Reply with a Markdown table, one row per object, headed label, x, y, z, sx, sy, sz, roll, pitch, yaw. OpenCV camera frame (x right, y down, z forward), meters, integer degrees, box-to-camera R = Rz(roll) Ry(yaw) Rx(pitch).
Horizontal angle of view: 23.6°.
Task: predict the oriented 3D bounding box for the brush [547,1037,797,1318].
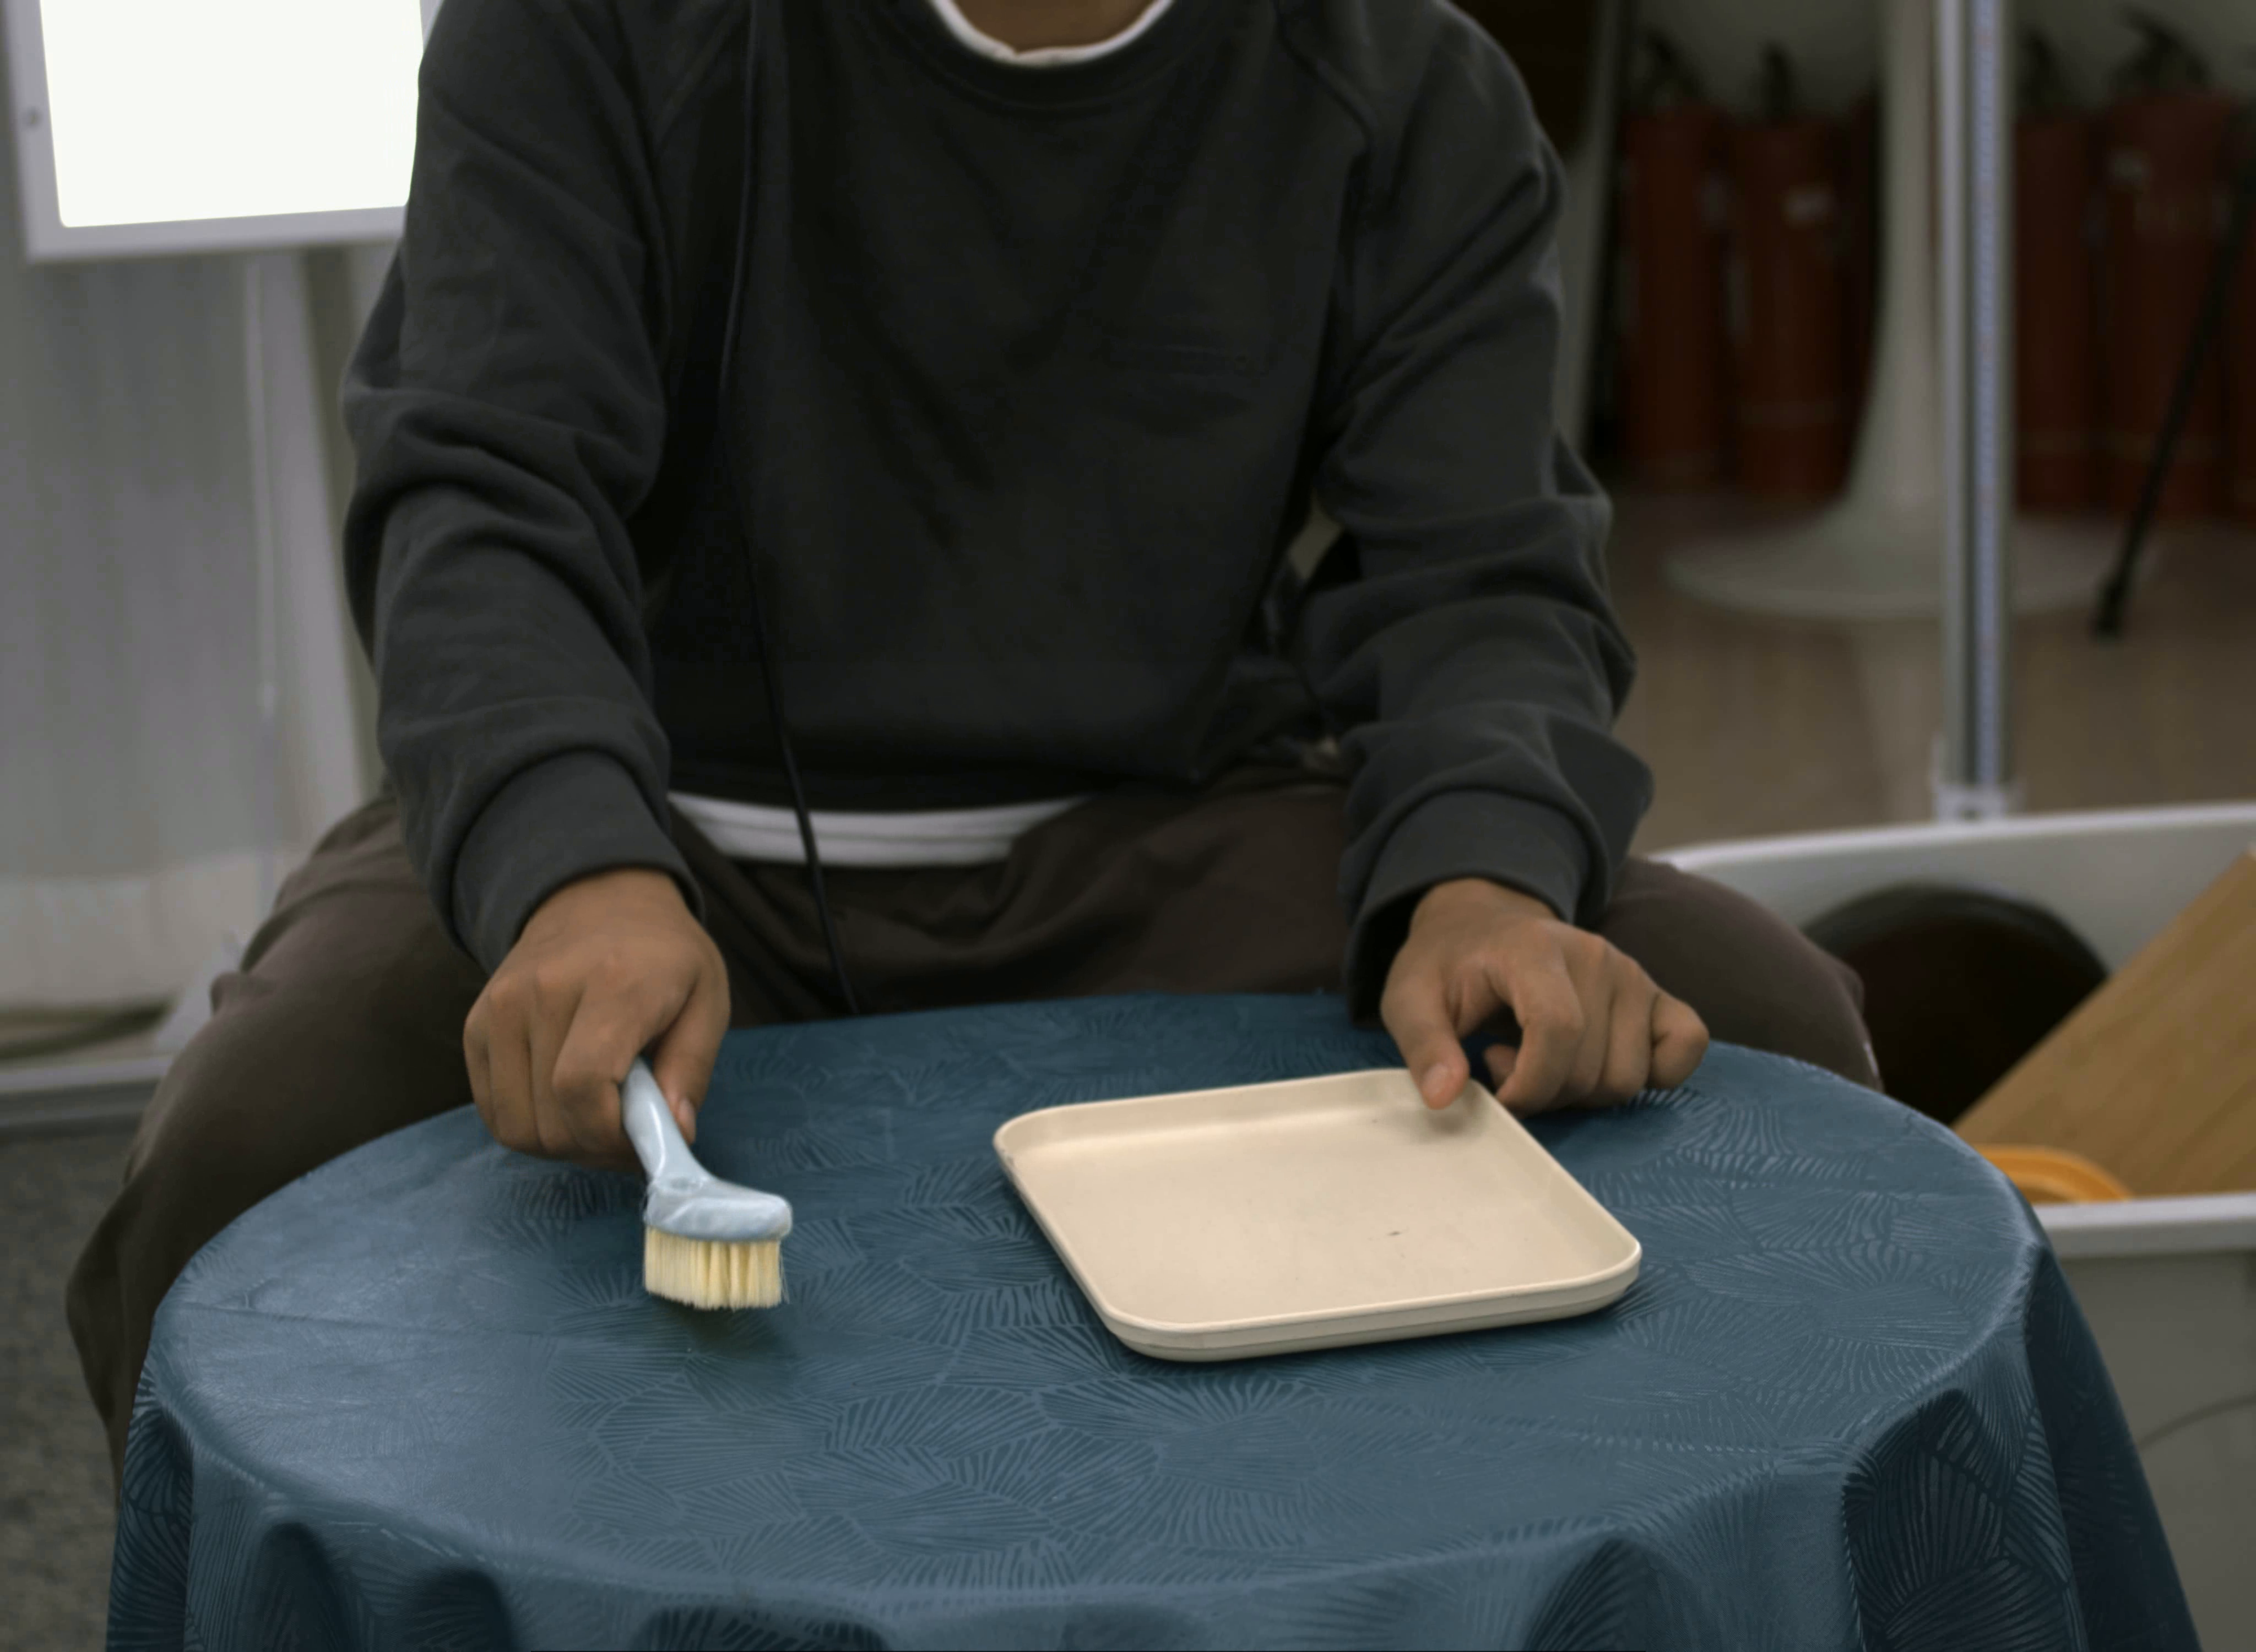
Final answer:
| label | x | y | z | sx | sy | sz | roll | pitch | yaw |
| --- | --- | --- | --- | --- | --- | --- | --- | --- | --- |
| brush | -0.152 | 0.113 | 1.733 | 0.037 | 0.050 | 0.231 | -1 | 14 | -20 |

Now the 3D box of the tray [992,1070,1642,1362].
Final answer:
| label | x | y | z | sx | sy | sz | roll | pitch | yaw |
| --- | --- | --- | --- | --- | --- | --- | --- | --- | --- |
| tray | 0.056 | 0.123 | 1.713 | 0.168 | 0.017 | 0.241 | -6 | 14 | -10 |
